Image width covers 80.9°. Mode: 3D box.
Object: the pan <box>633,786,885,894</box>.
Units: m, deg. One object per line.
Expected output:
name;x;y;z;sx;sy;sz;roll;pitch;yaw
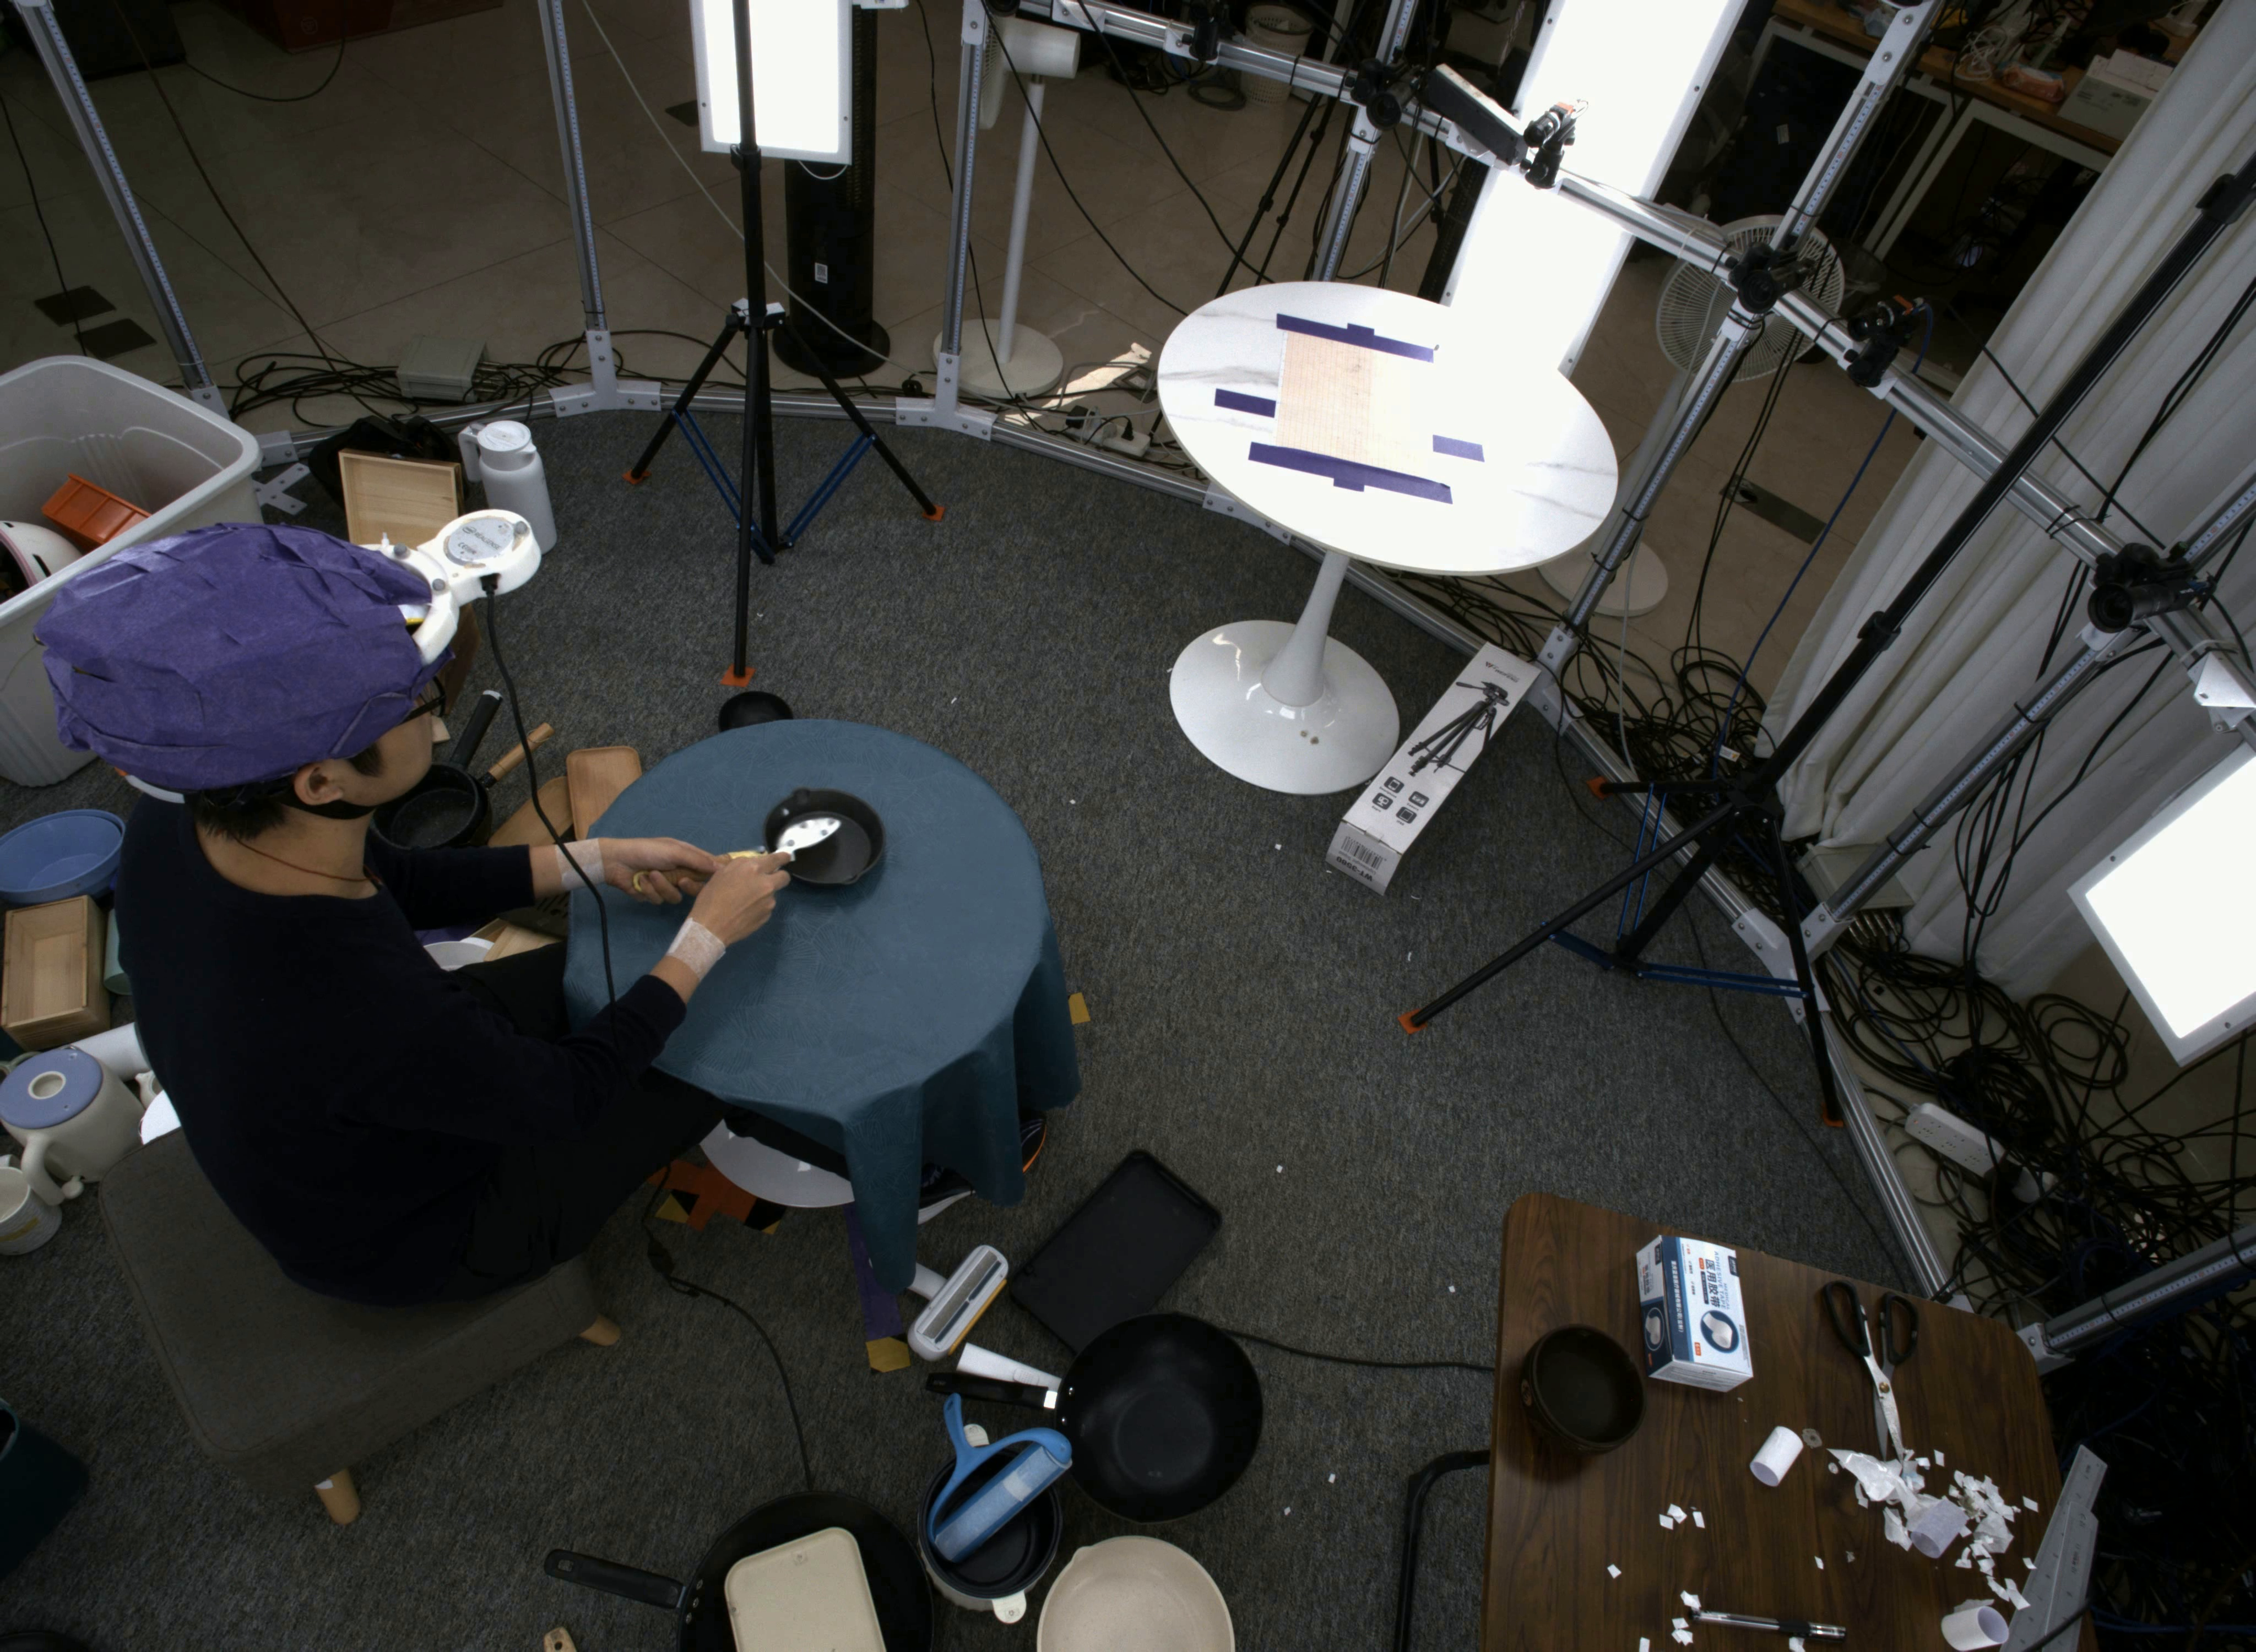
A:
pan;-0.464;0.035;1.631;0.327;0.050;0.165;-16;59;-32

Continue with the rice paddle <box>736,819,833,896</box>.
rice paddle;-0.429;0.028;1.616;0.067;0.030;0.203;2;24;12
